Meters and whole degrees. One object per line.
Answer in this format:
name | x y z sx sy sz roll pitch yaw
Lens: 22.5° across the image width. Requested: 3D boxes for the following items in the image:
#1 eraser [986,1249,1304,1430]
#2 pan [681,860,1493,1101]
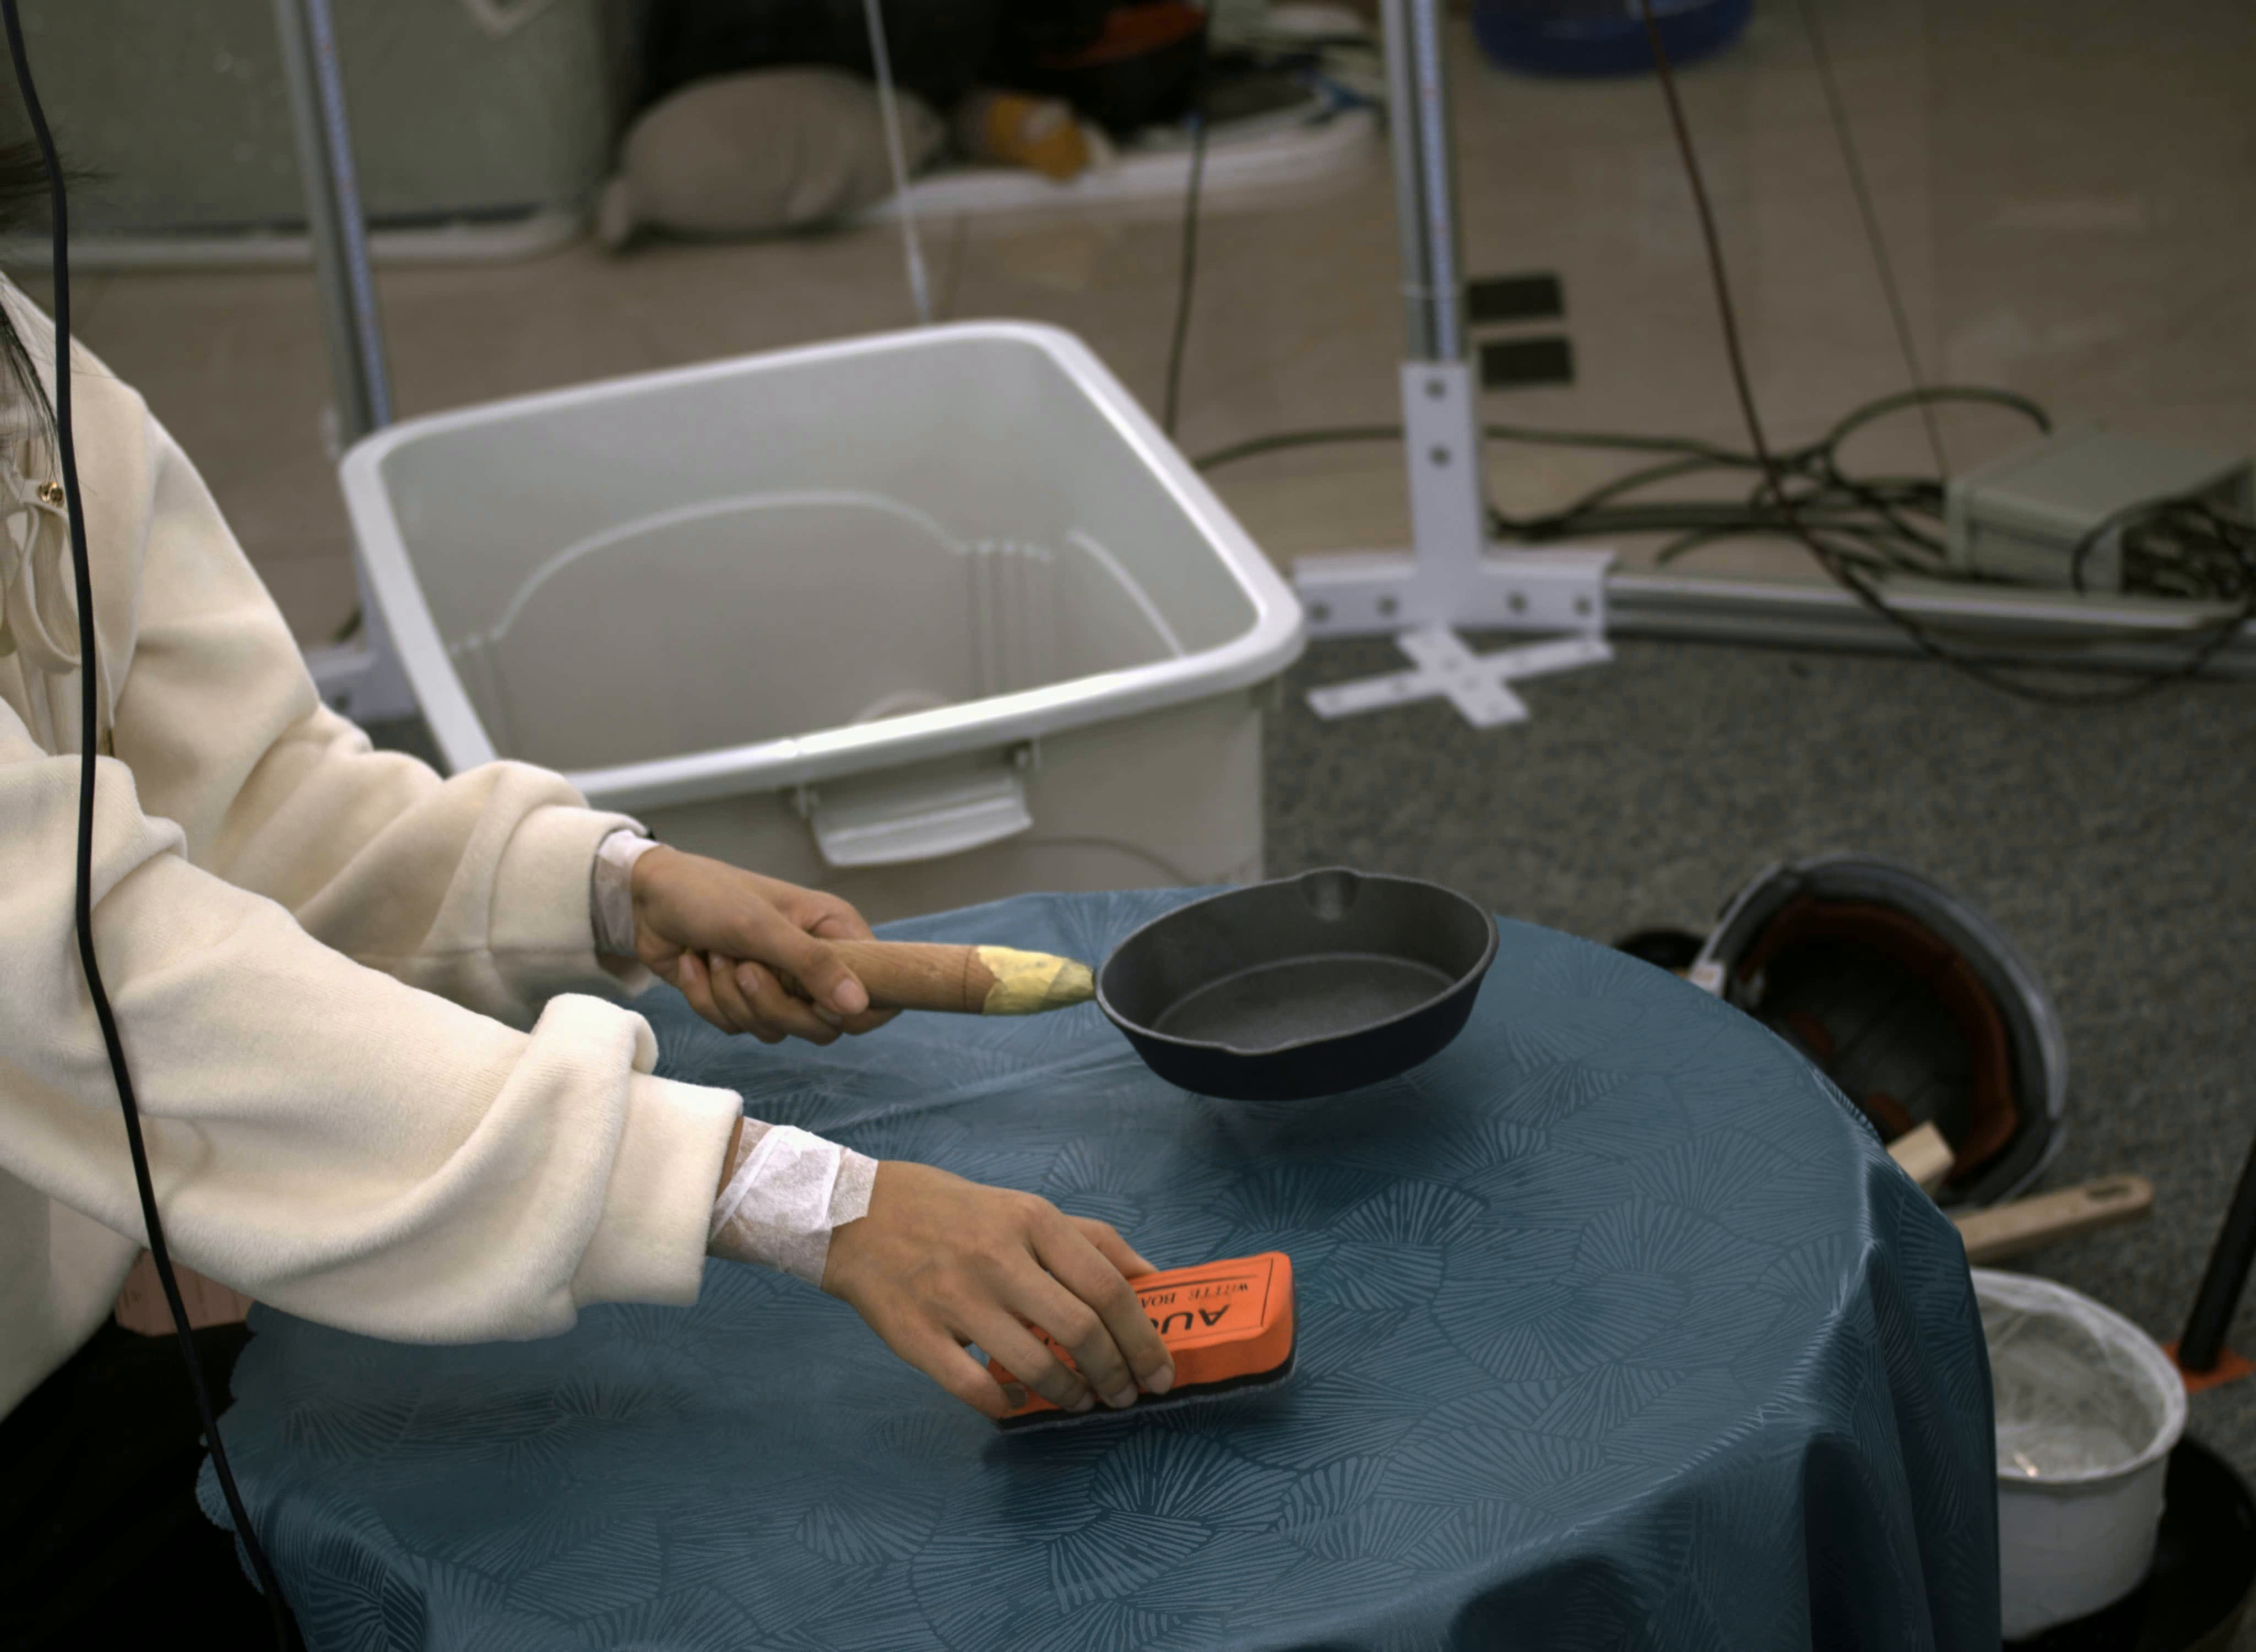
eraser | 0.006 0.181 1.999 0.108 0.023 0.058 -11 28 16
pan | -0.017 0.060 2.200 0.323 0.050 0.166 -2 24 15
